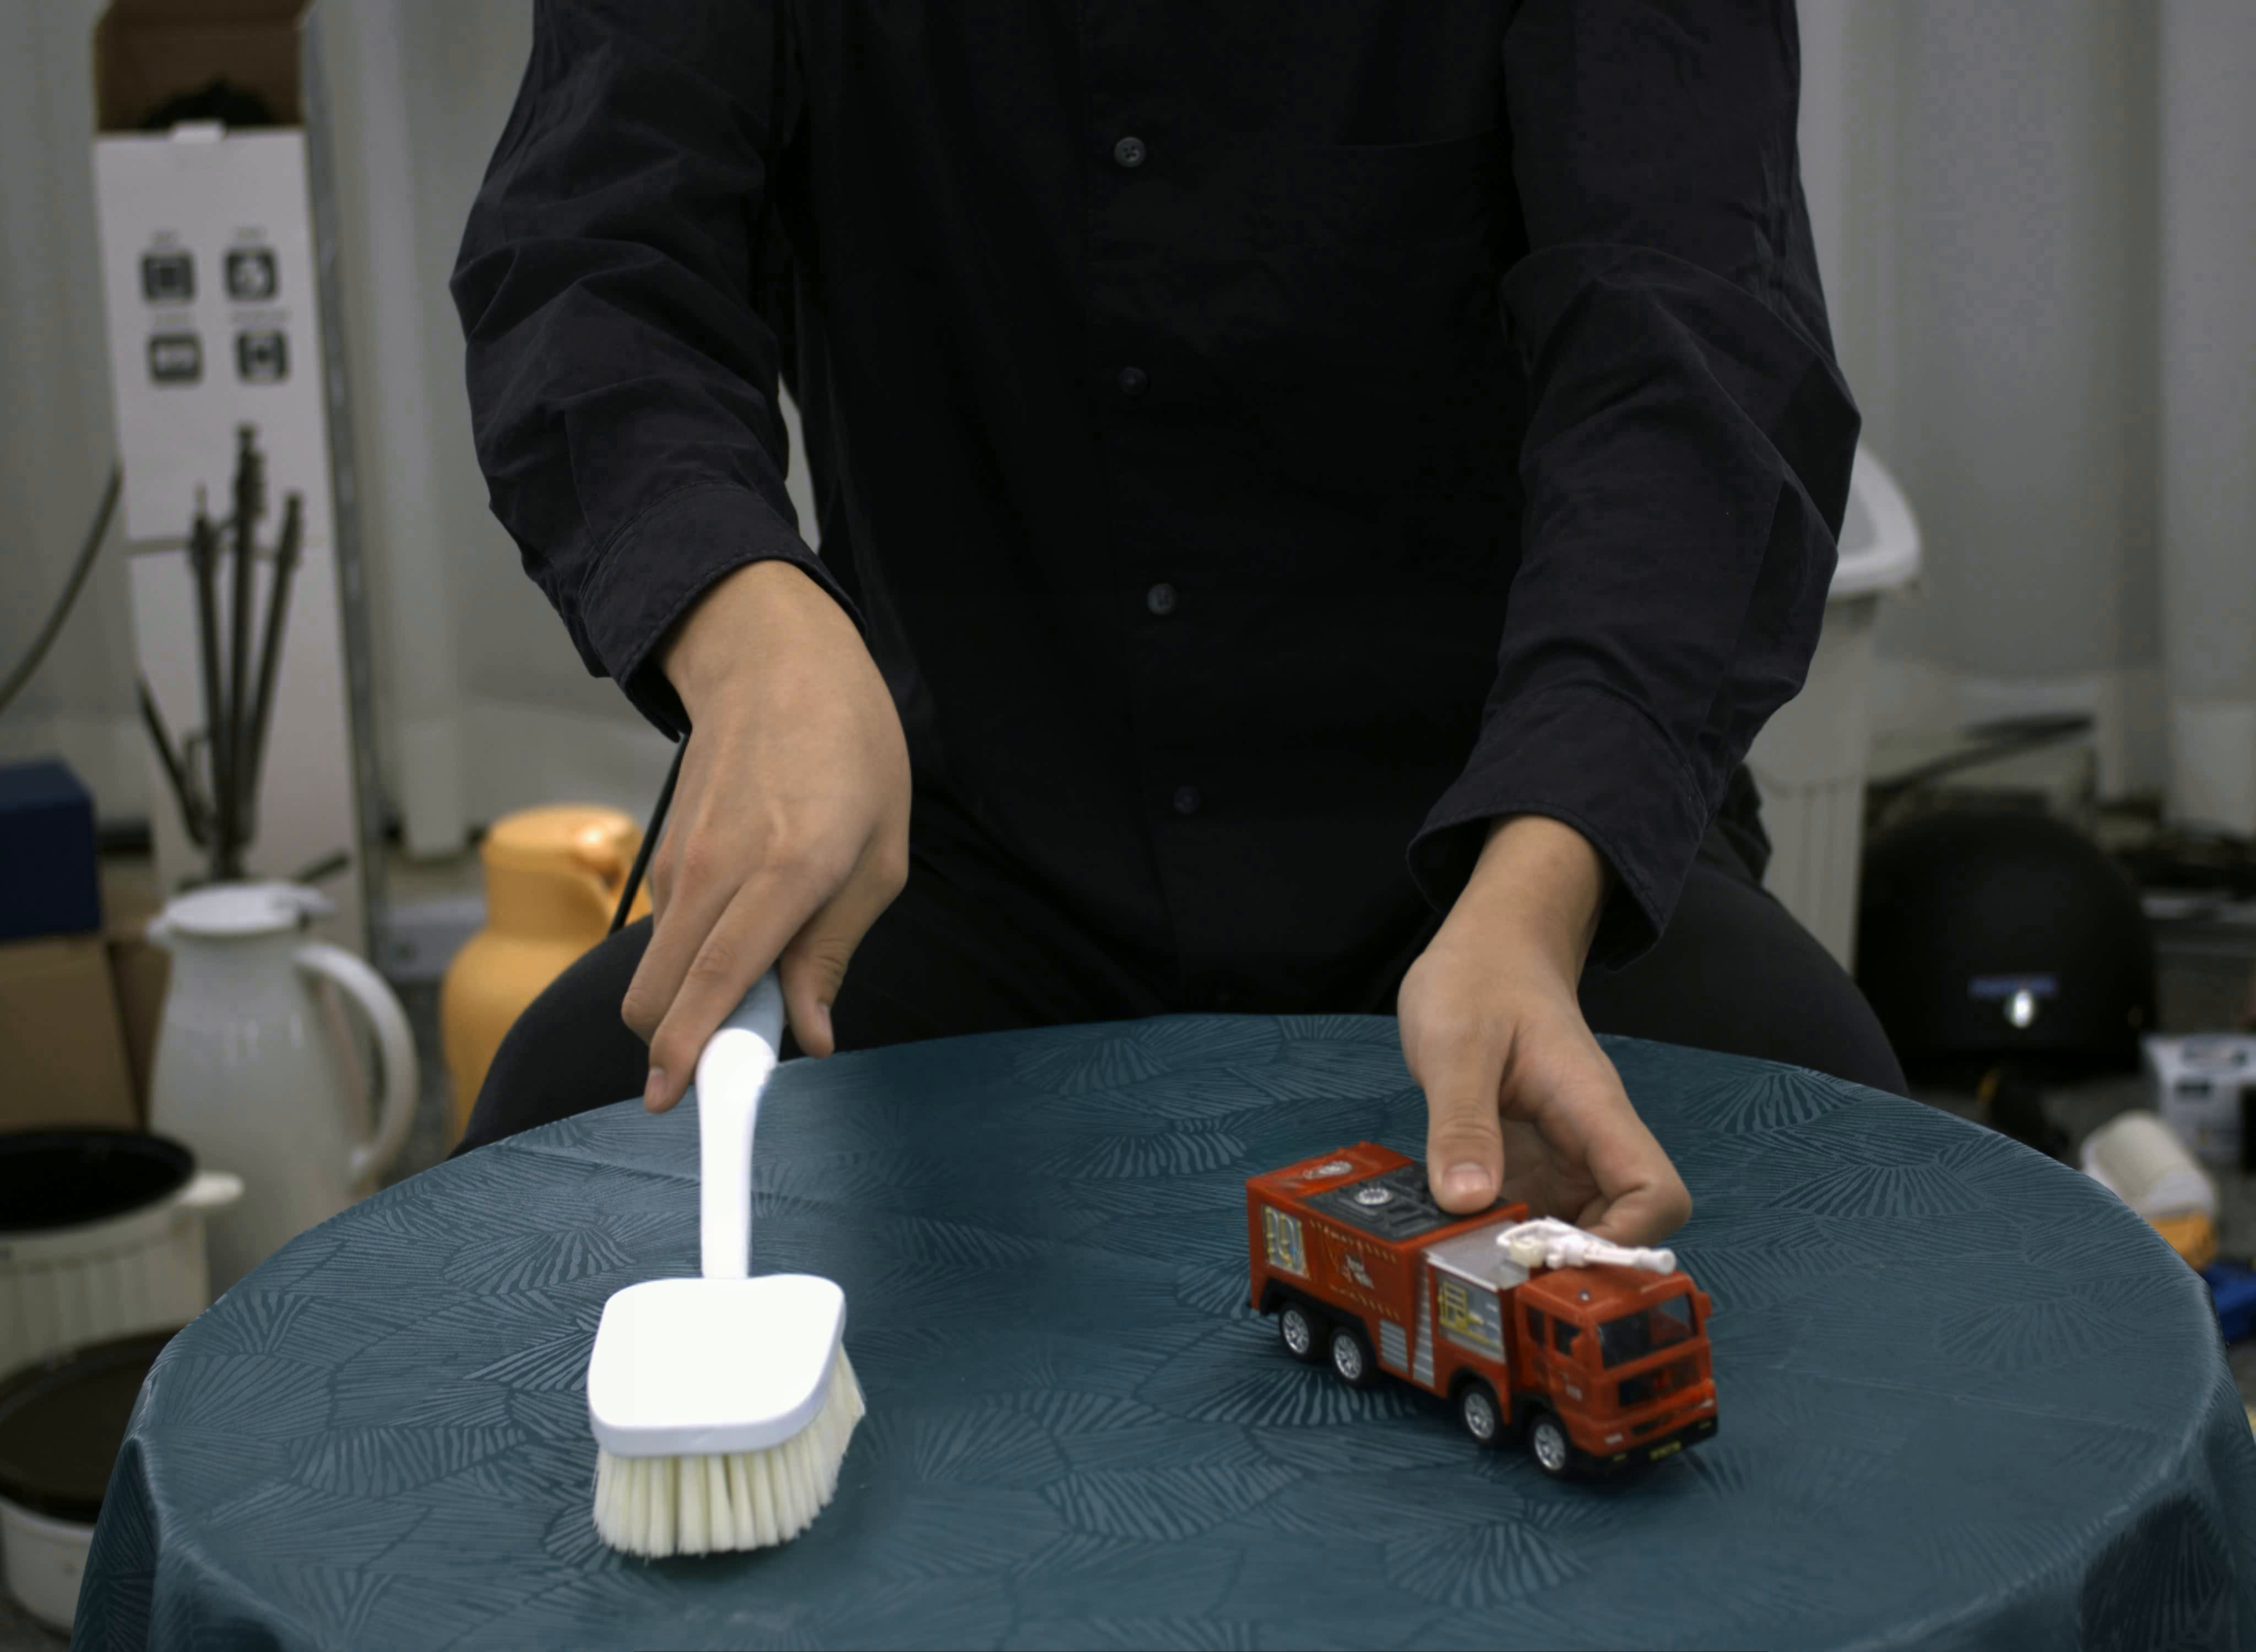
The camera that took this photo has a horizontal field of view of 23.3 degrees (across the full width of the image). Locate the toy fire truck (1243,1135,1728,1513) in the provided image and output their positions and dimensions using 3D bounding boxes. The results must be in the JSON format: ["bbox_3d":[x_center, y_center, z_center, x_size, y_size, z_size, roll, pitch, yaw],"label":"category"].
[{"bbox_3d":[0.097,0.134,1.509,0.054,0.070,0.169,-16,19,-32],"label":"toy fire truck"}]

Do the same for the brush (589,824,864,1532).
[{"bbox_3d":[-0.107,0.112,1.584,0.082,0.084,0.329,30,24,-14],"label":"brush"}]
